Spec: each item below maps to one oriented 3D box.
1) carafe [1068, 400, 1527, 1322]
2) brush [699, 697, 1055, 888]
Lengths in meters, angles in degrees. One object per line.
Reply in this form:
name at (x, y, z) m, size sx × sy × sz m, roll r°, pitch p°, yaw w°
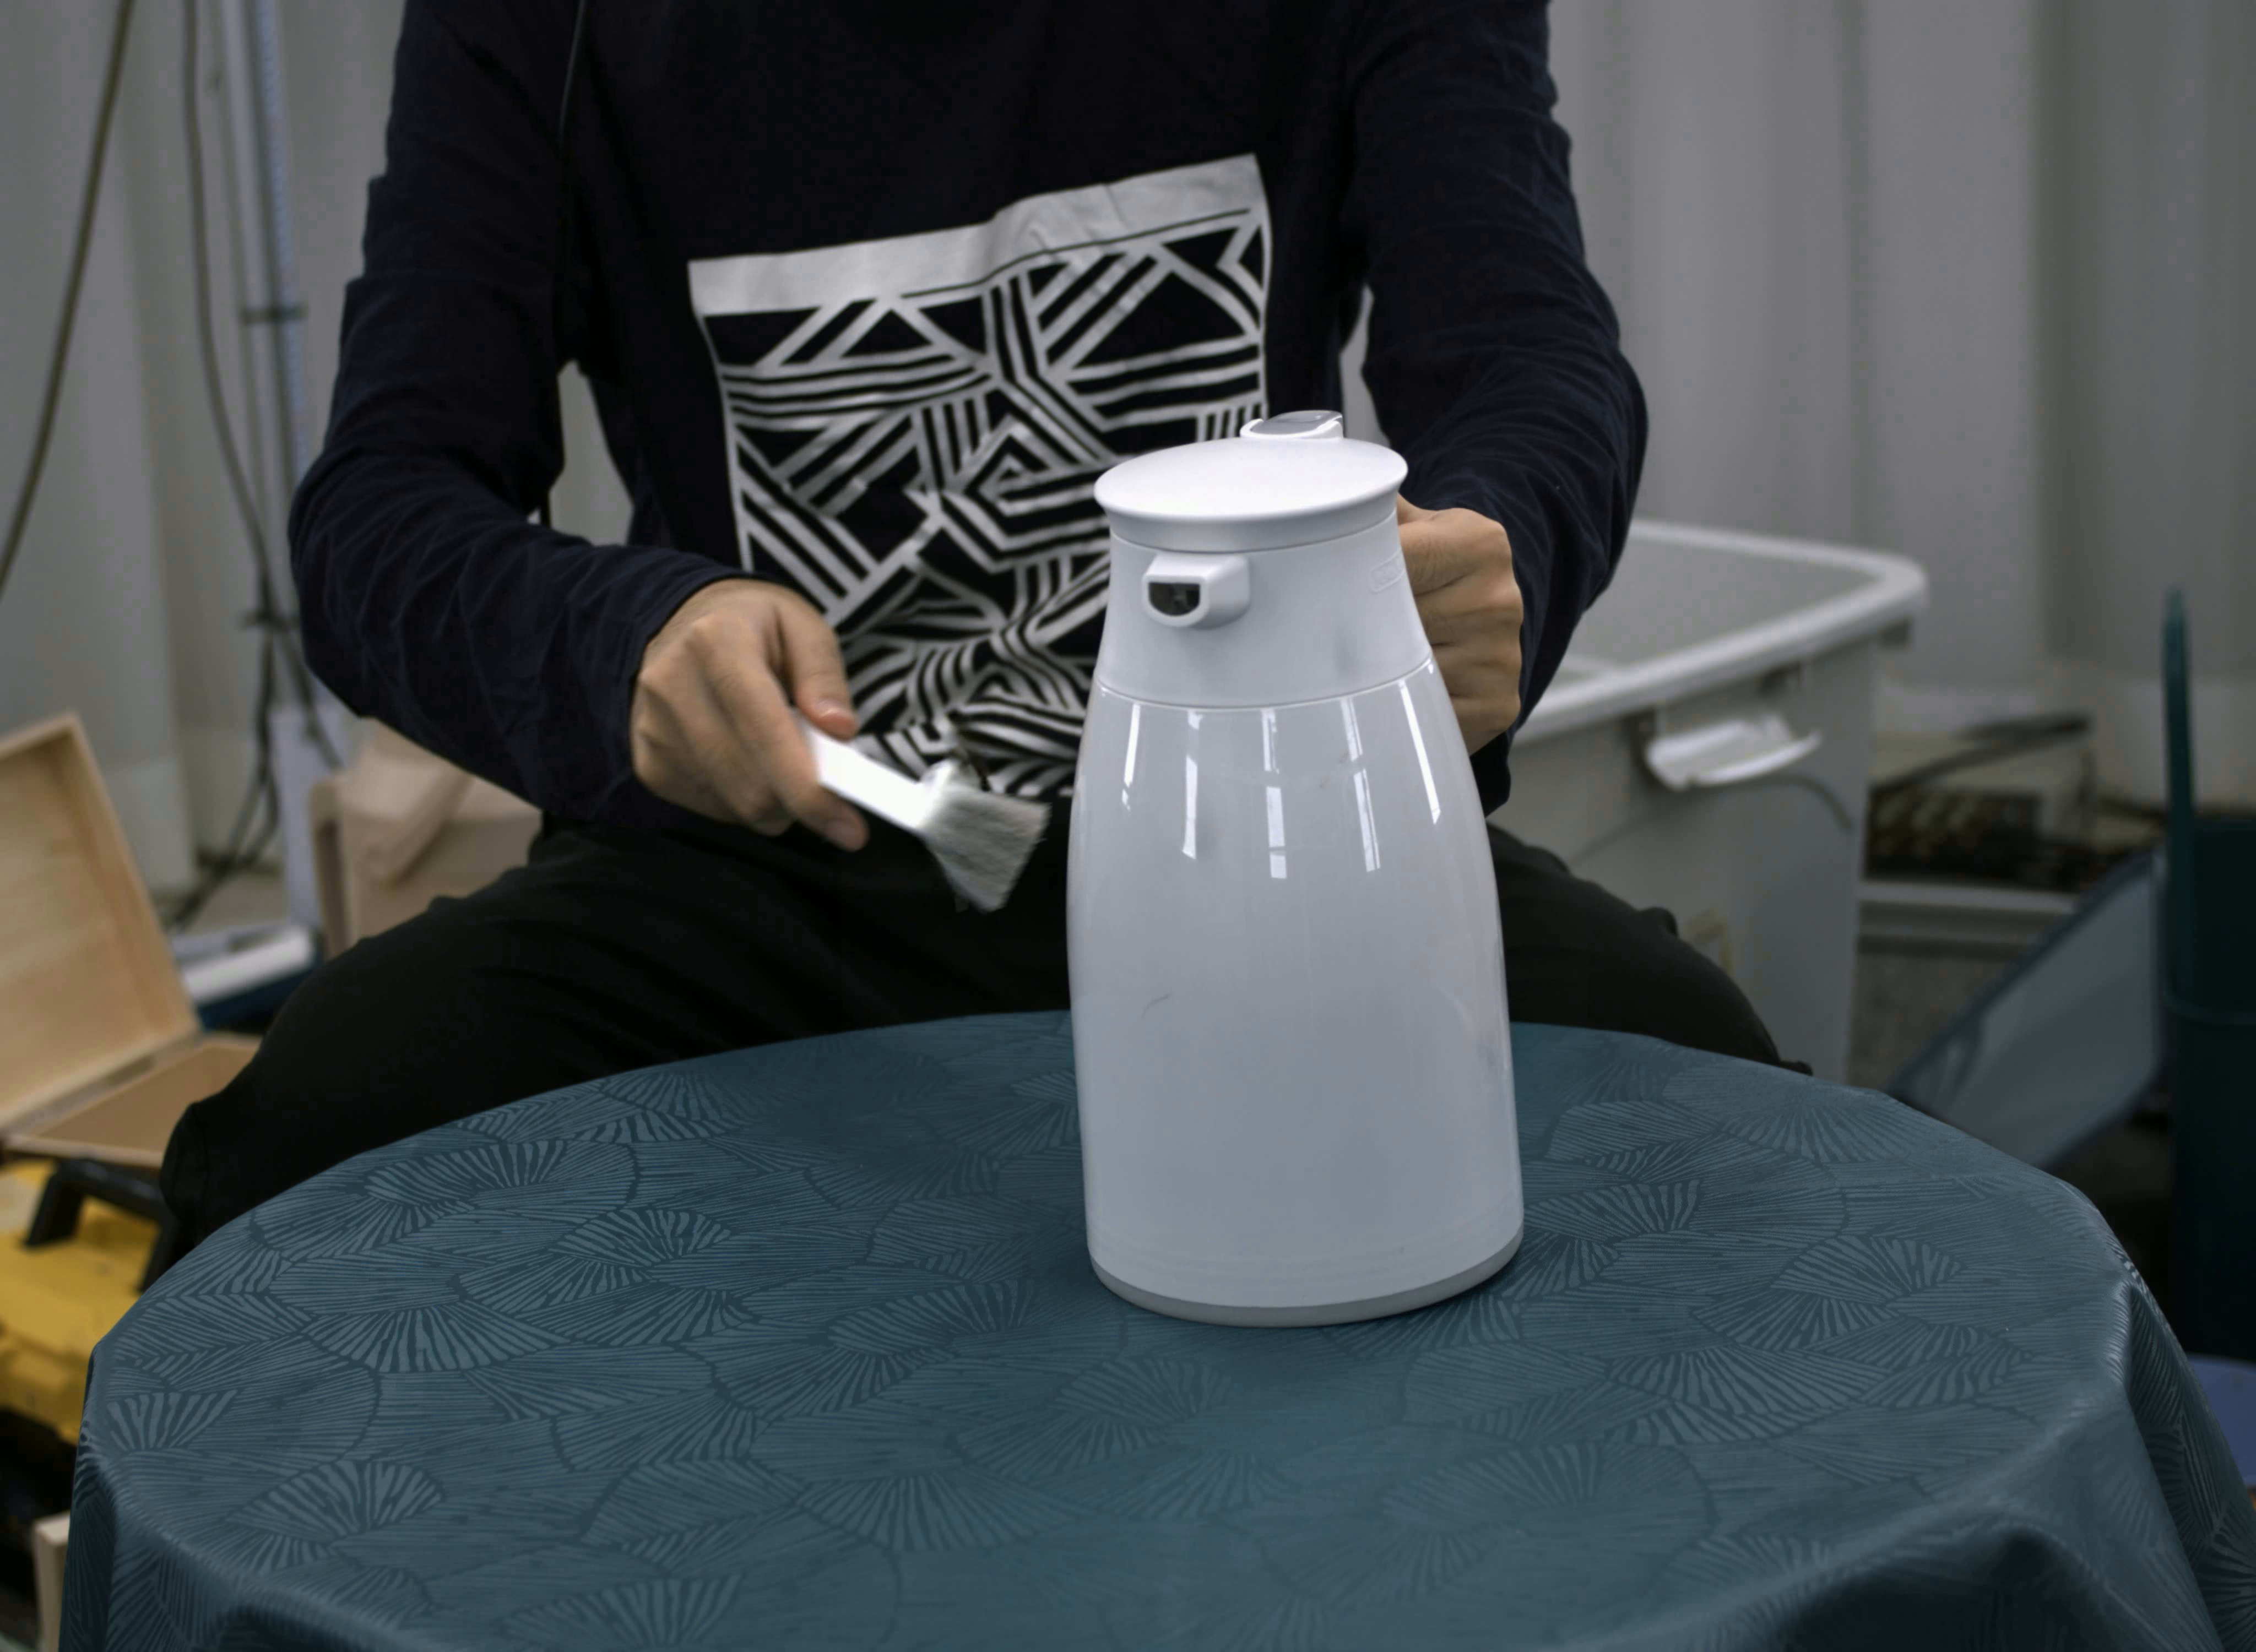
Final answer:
carafe at (0.050, 0.001, 1.634) m, size 0.132 × 0.247 × 0.168 m, roll 1°, pitch 17°, yaw 22°
brush at (-0.079, -0.013, 1.759) m, size 0.050 × 0.034 × 0.245 m, roll 22°, pitch -2°, yaw -23°
